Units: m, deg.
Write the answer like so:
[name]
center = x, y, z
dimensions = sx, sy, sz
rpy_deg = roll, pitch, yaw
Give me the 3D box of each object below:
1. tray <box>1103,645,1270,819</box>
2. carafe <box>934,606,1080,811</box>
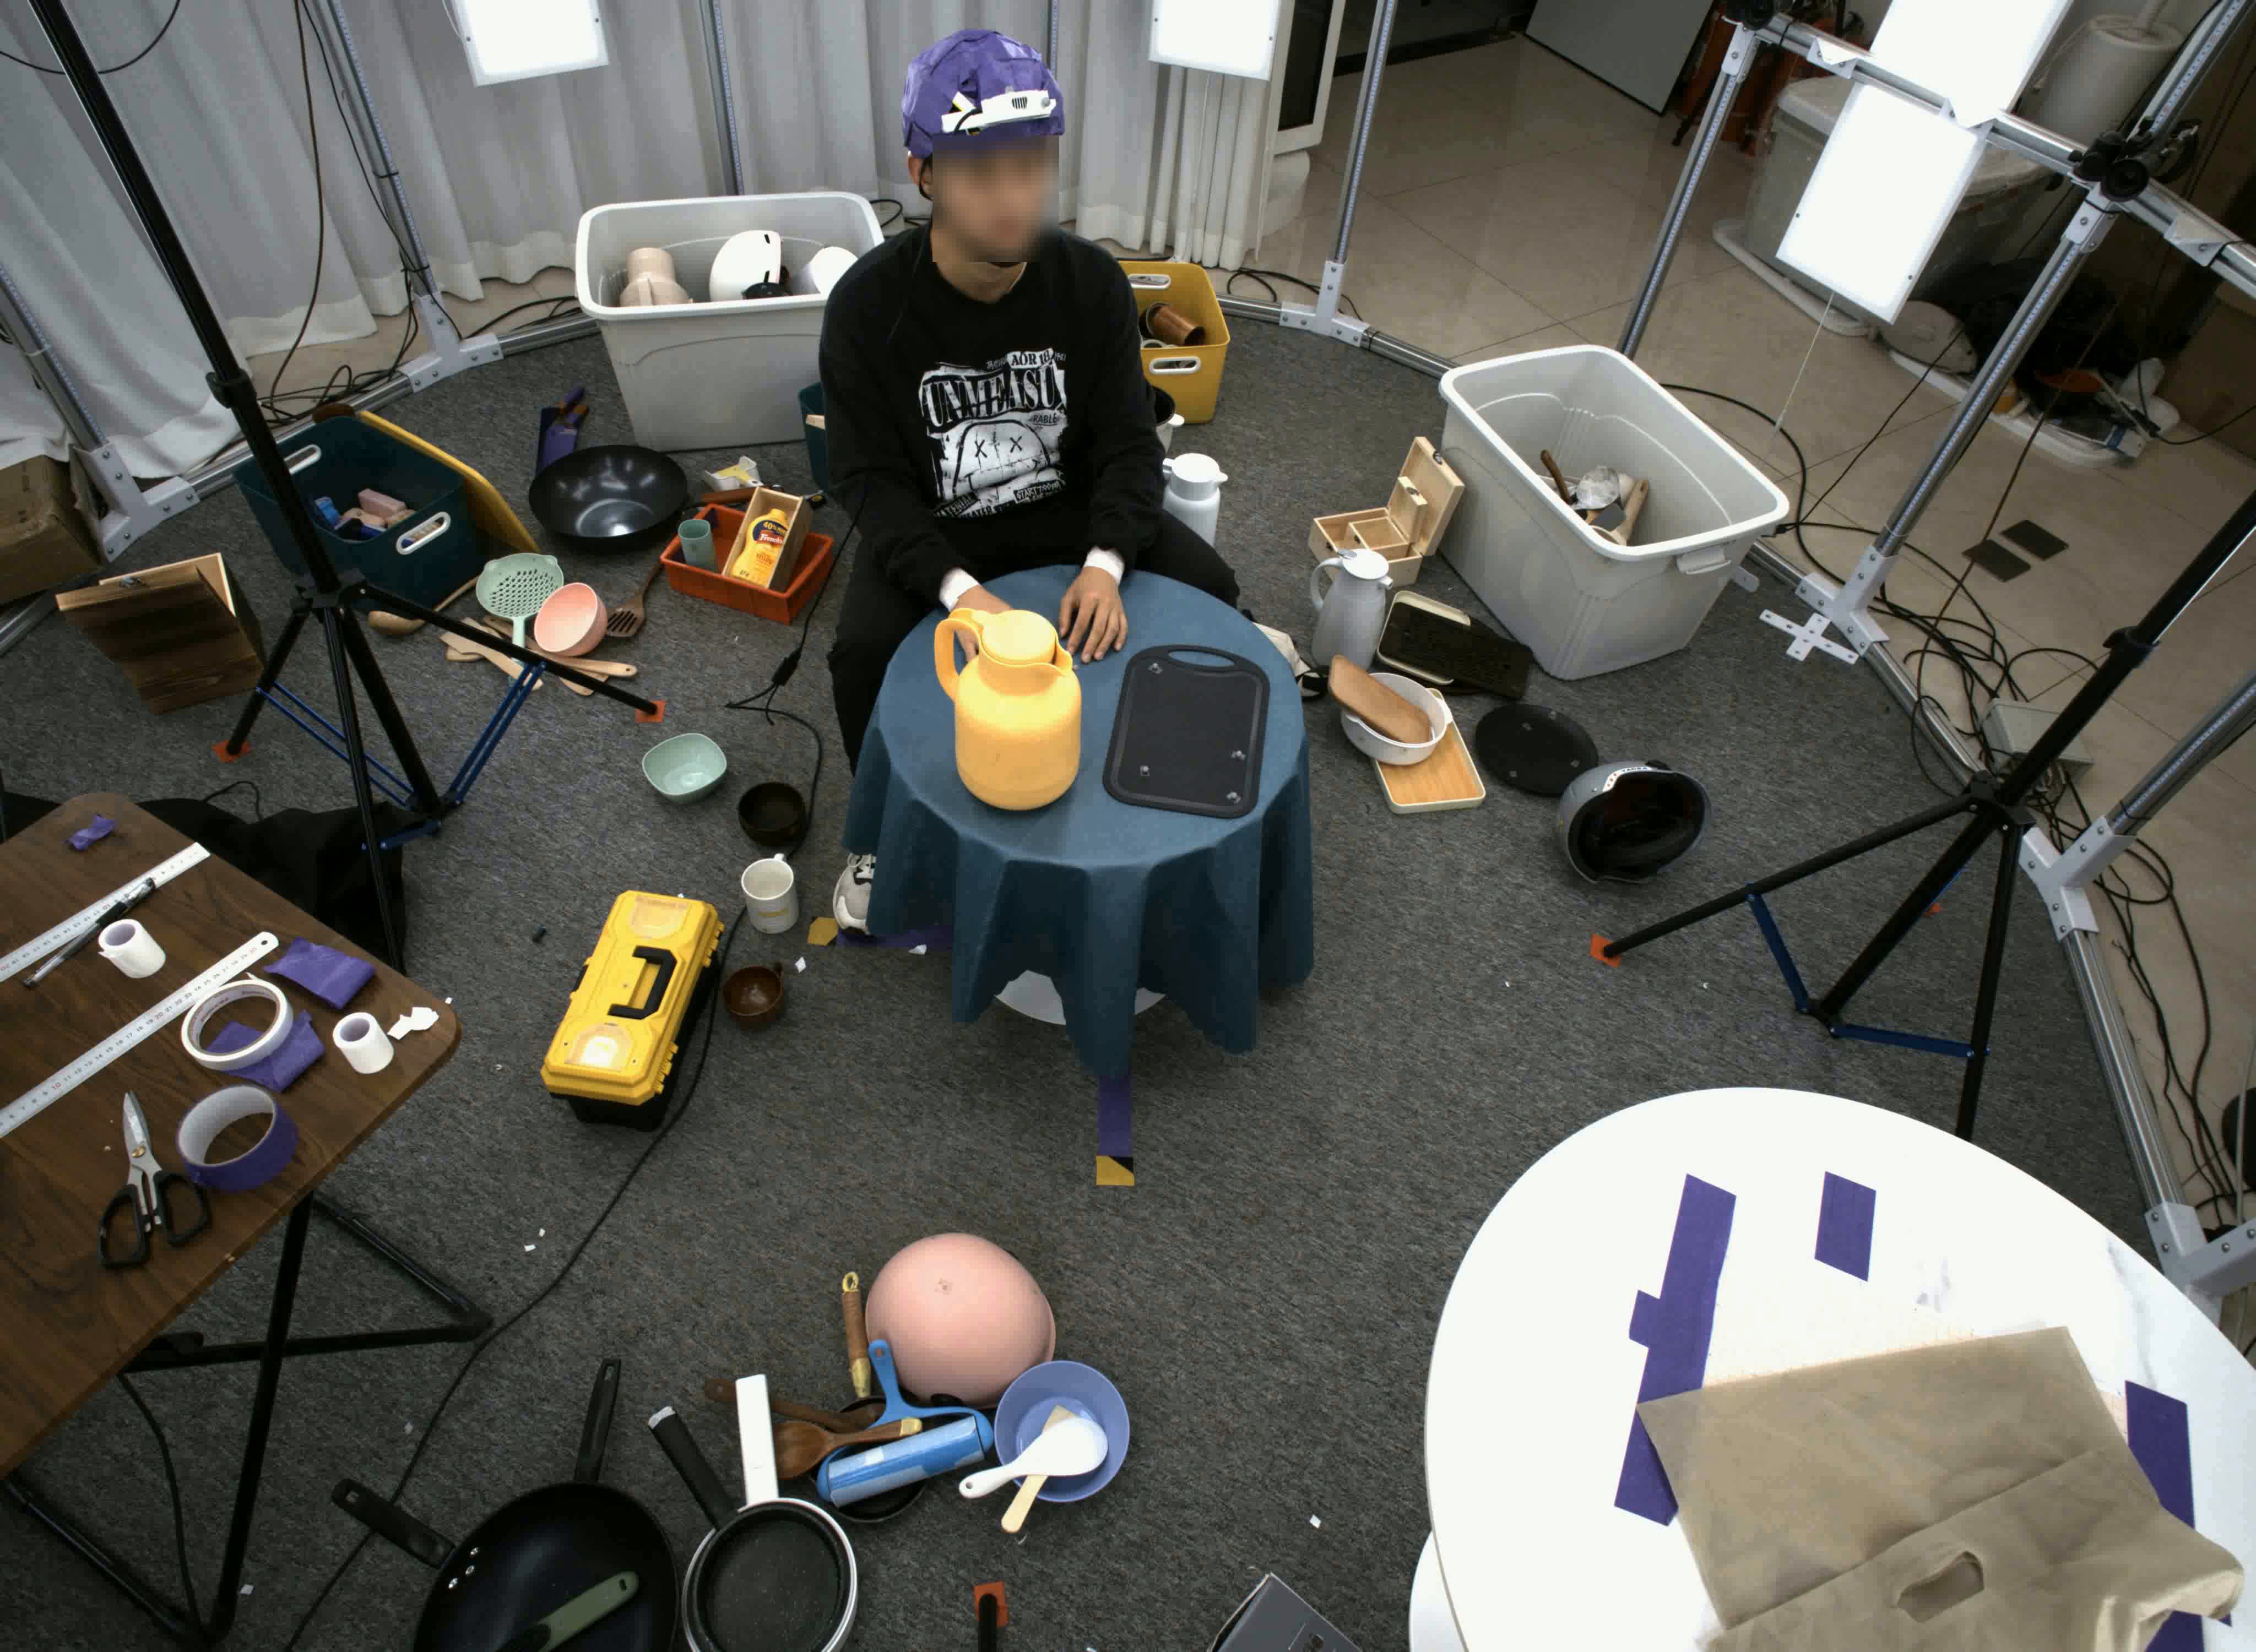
[tray]
center = 0.087, -0.144, 1.795
dimensions = 0.211, 0.009, 0.333
rpy_deg = 9, 49, 4
[carafe]
center = -0.157, -0.160, 1.630
dimensions = 0.204, 0.254, 0.166
rpy_deg = 30, 52, 19
